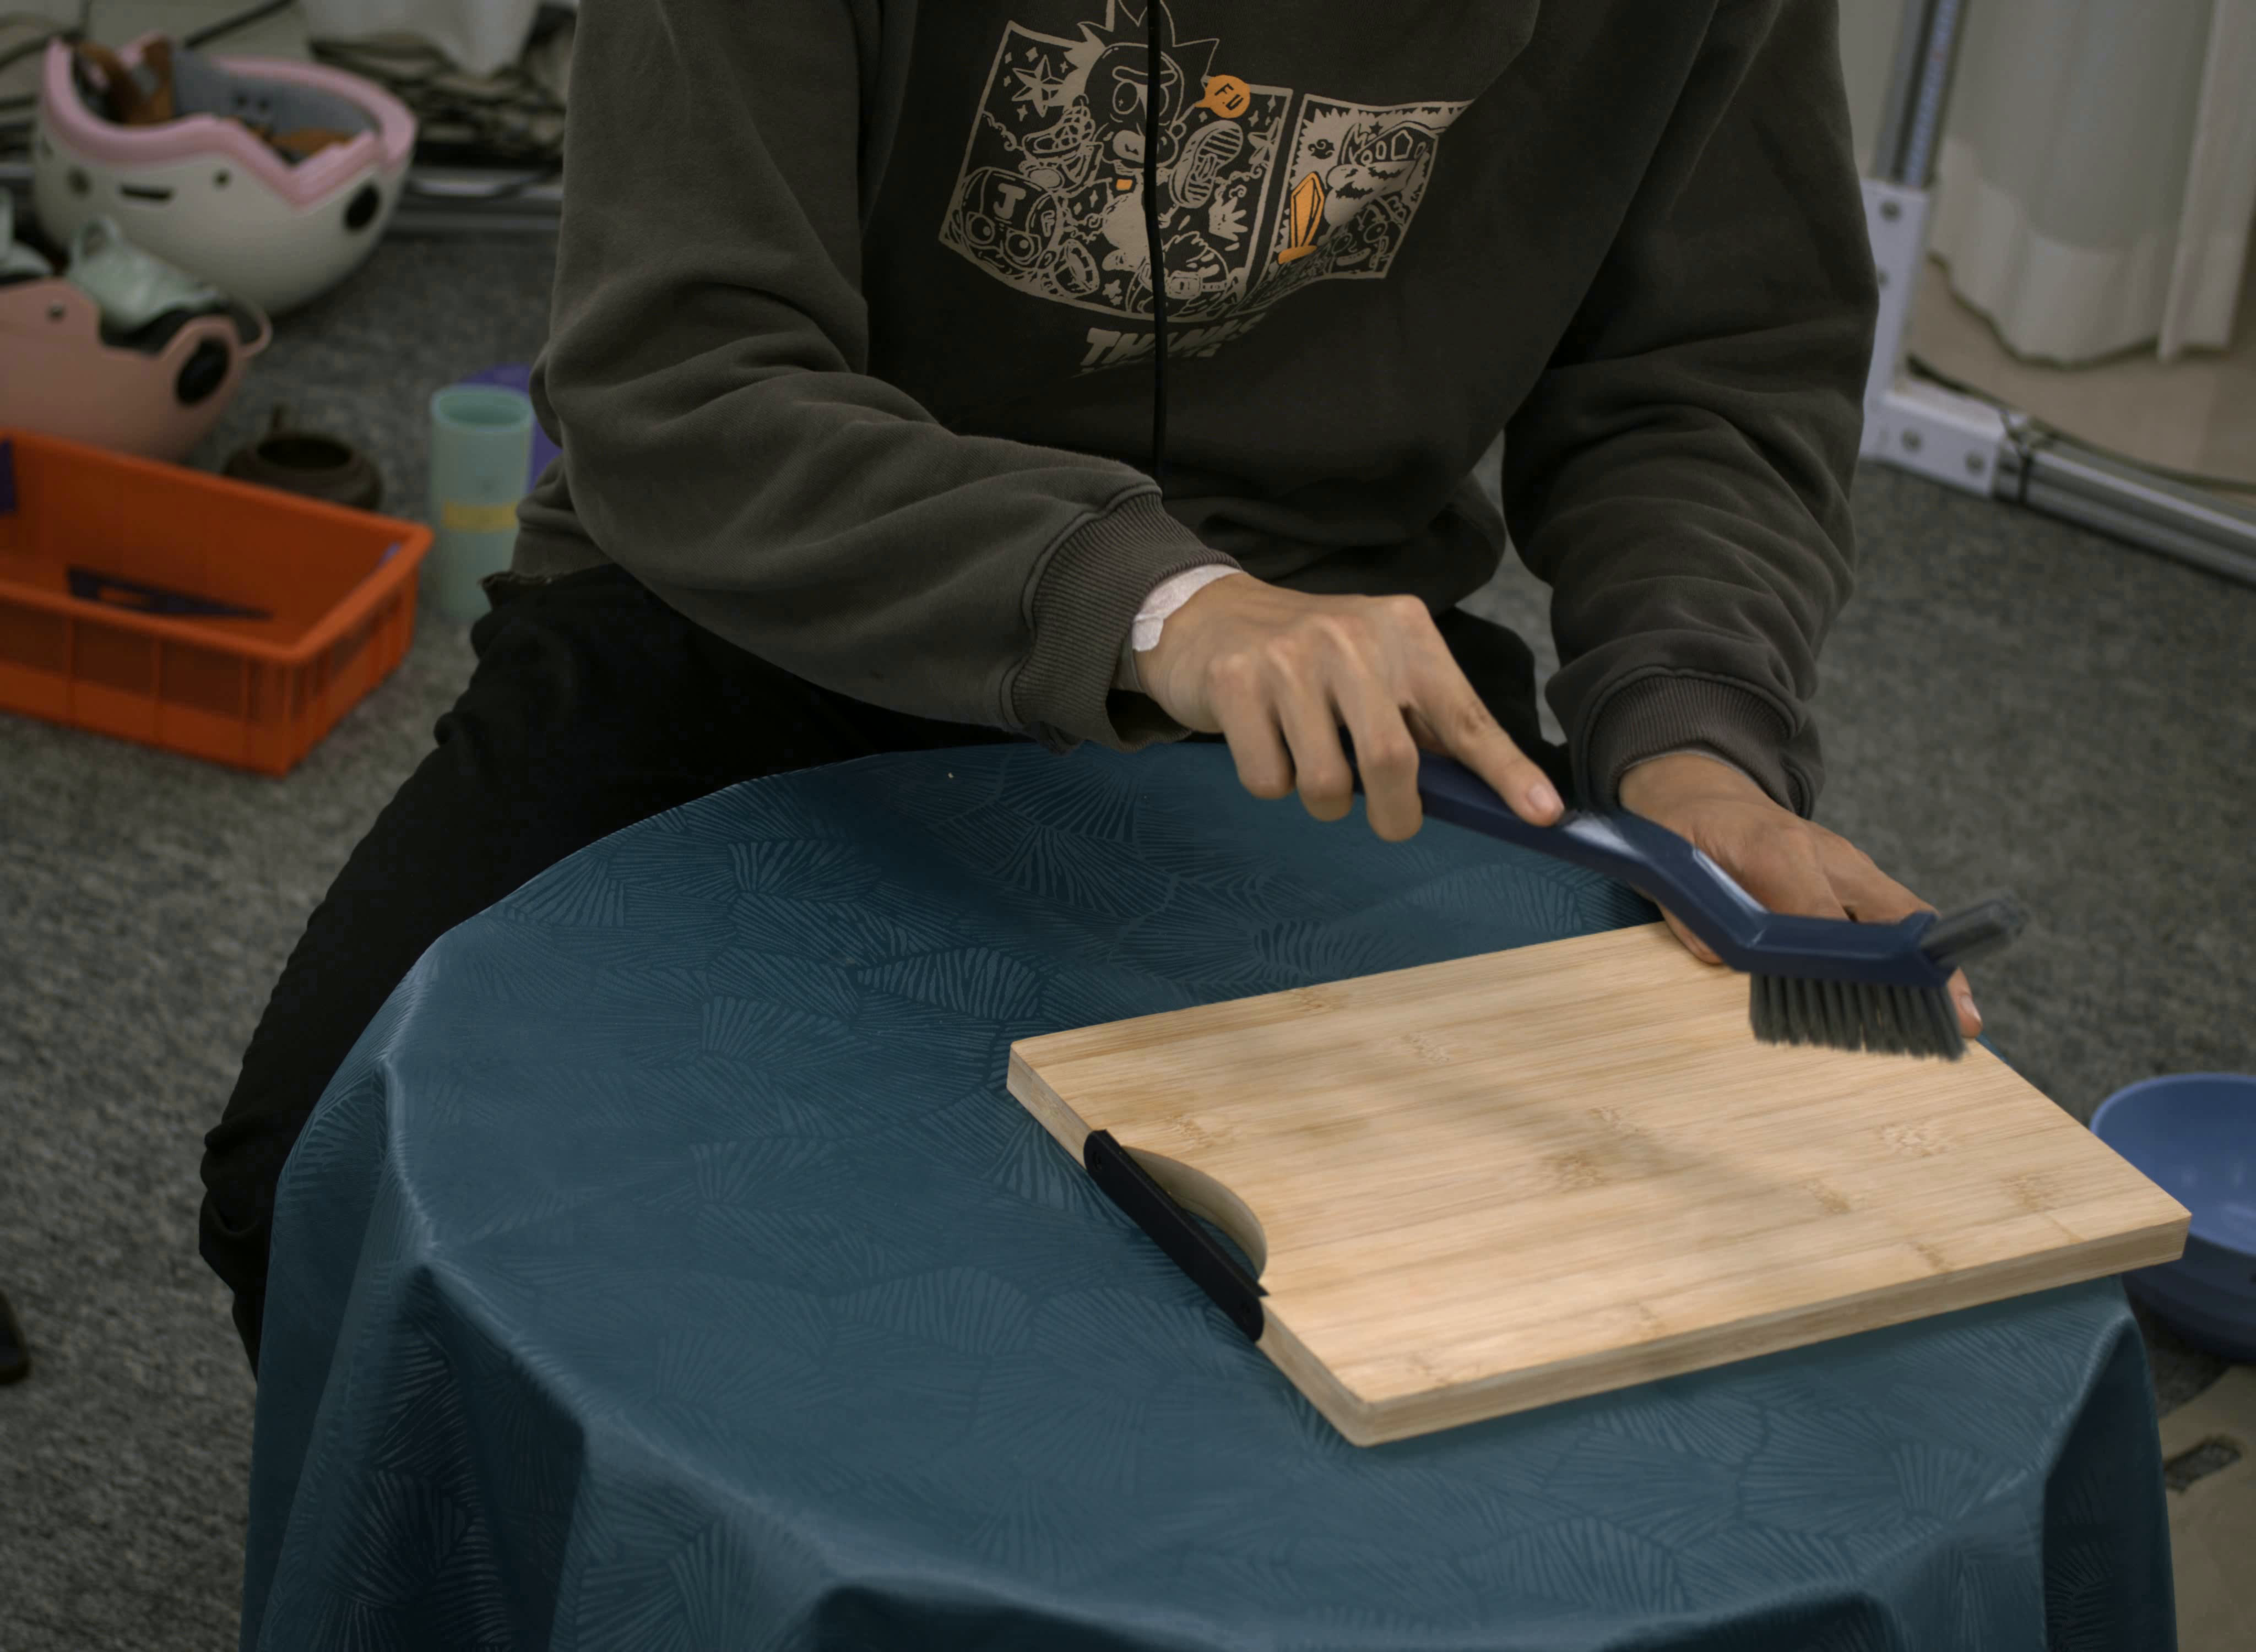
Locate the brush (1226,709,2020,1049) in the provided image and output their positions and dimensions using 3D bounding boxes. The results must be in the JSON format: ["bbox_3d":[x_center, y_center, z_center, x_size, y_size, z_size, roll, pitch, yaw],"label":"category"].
[{"bbox_3d":[0.162,0.003,1.786,0.274,0.095,0.033,26,41,16],"label":"brush"}]

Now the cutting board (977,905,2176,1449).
[{"bbox_3d":[0.156,0.114,1.840,0.346,0.023,0.253,-9,30,-29],"label":"cutting board"}]
